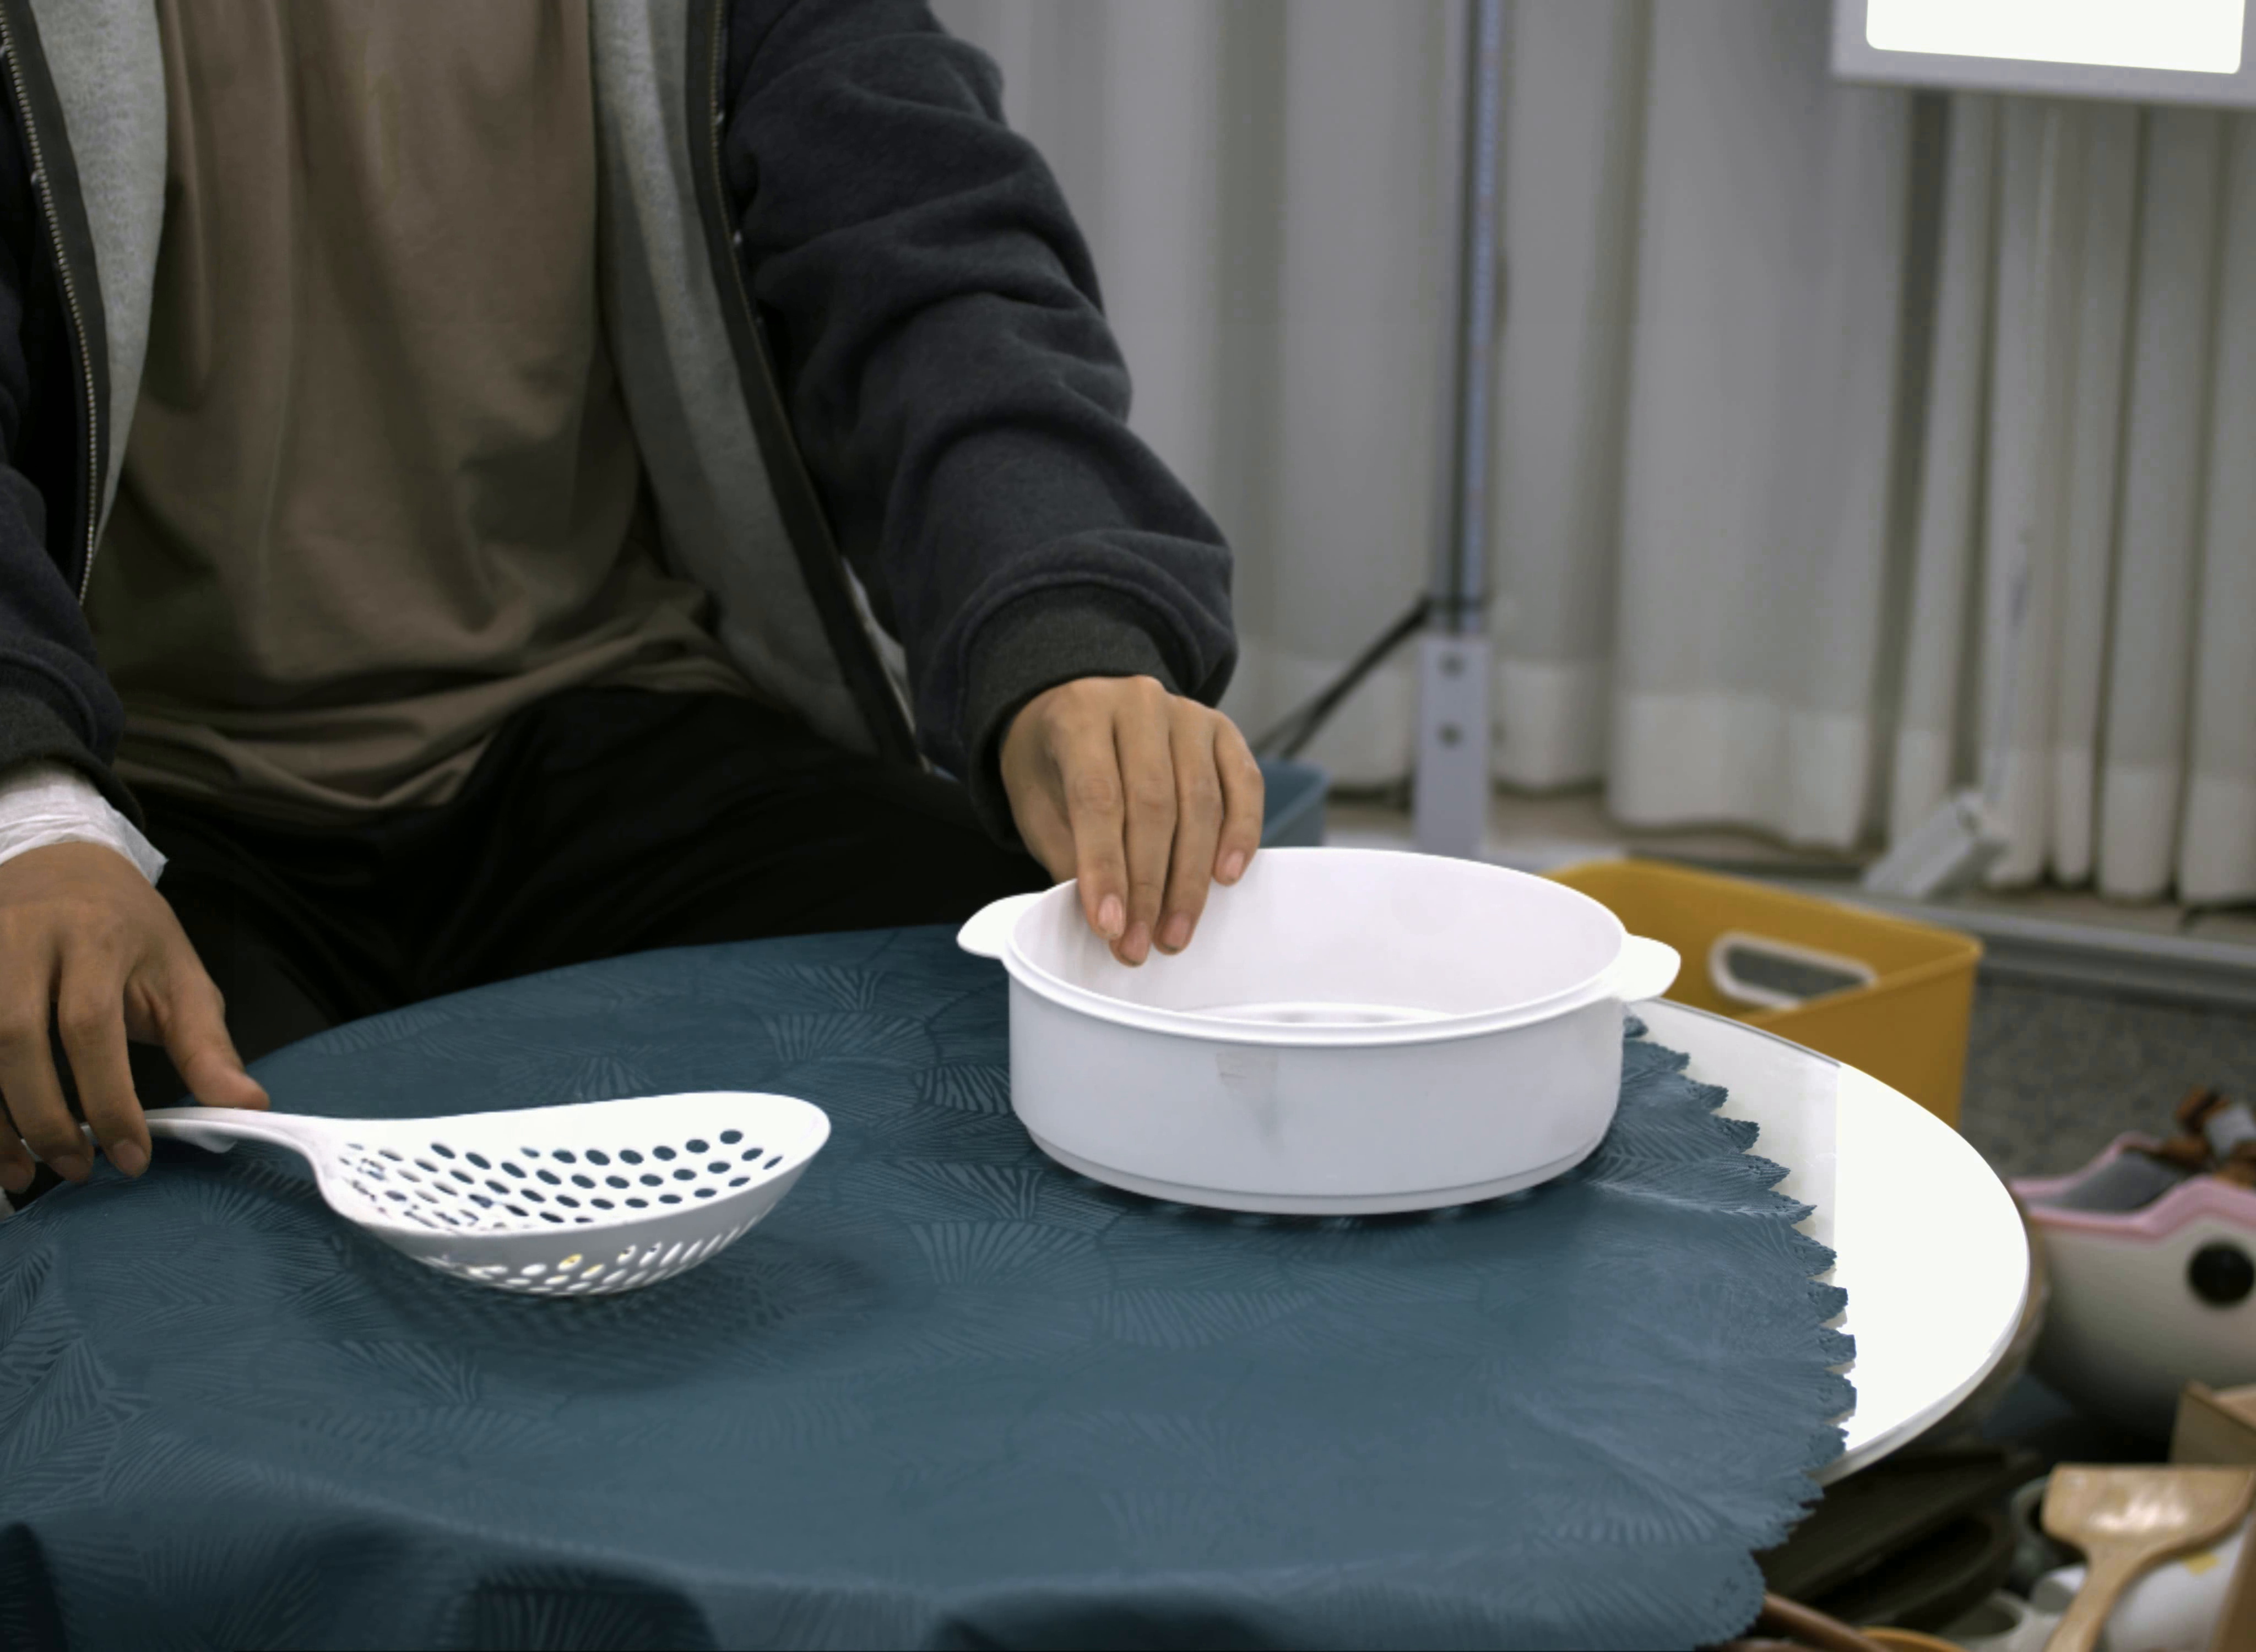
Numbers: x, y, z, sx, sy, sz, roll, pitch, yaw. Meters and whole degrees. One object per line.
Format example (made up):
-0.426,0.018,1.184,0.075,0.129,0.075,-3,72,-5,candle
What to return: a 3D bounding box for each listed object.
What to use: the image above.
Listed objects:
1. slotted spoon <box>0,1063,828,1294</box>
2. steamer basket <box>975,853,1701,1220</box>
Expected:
-0.239,0.105,1.598,0.344,0.051,0.137,5,21,37,slotted spoon
0.064,0.066,1.667,0.229,0.070,0.202,6,16,13,steamer basket
